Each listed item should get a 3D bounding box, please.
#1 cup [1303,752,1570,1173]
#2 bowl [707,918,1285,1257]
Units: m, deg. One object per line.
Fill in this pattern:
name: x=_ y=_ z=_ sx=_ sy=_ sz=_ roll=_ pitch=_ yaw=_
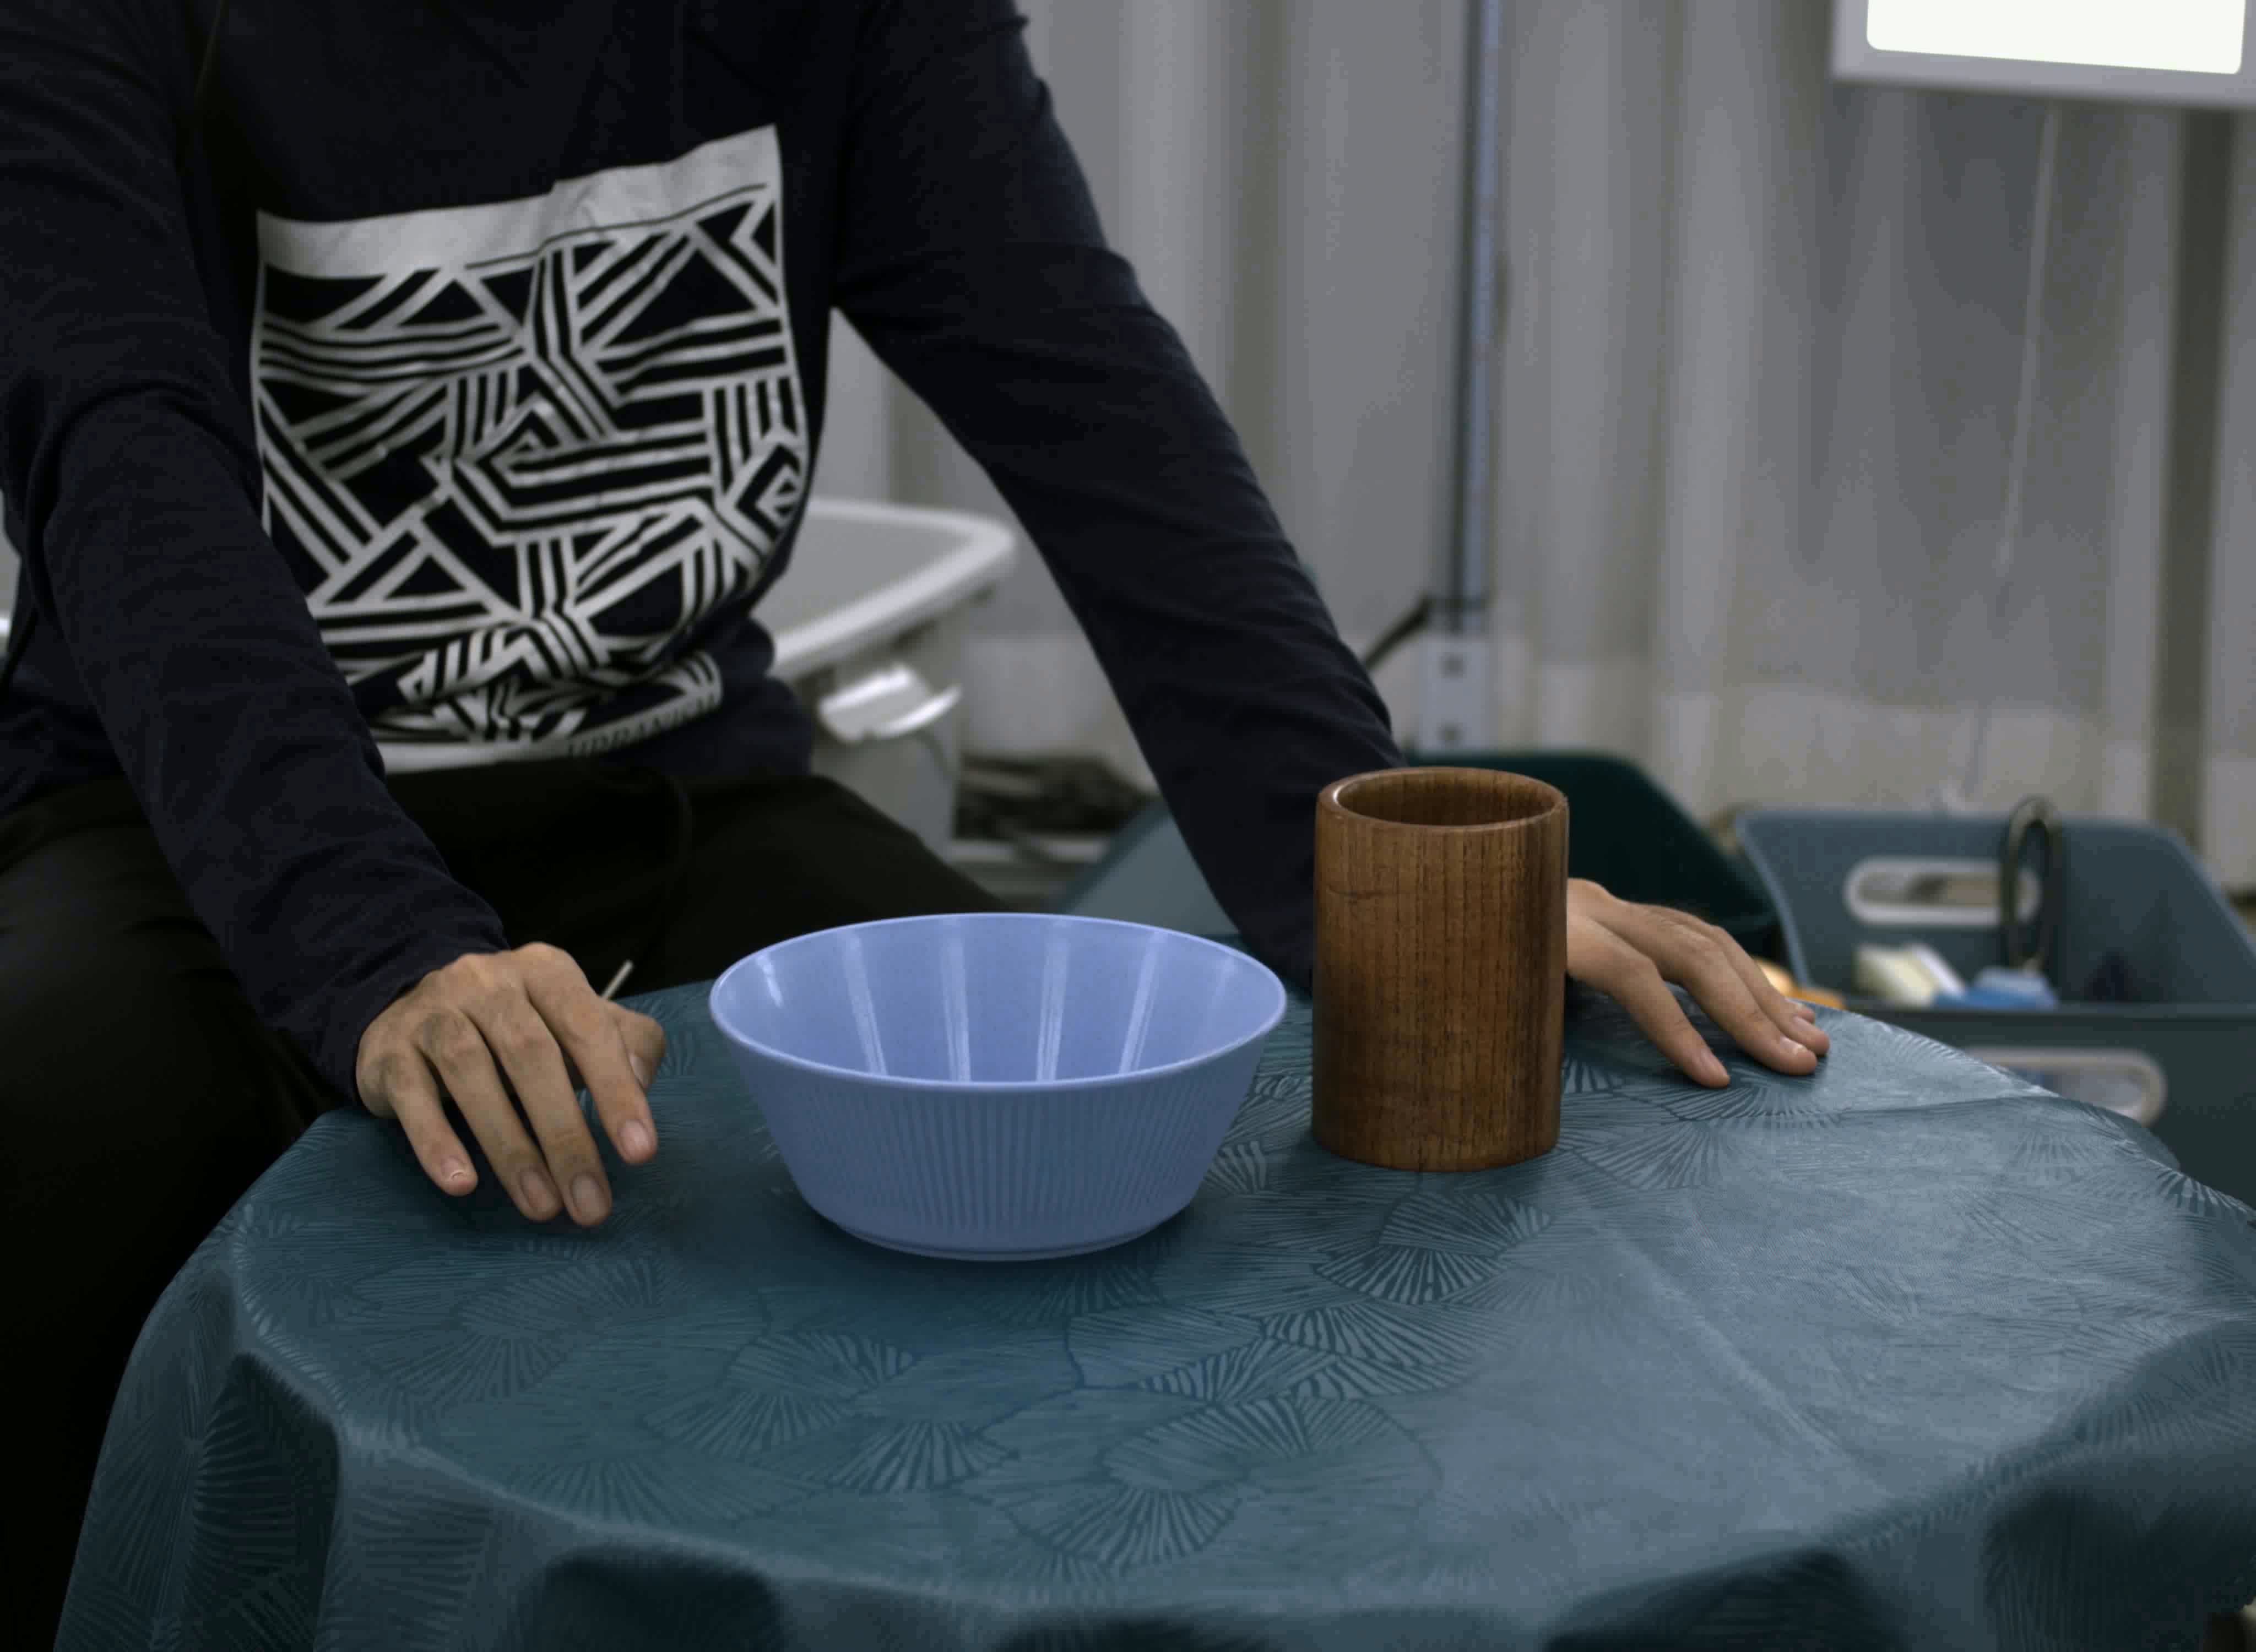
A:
cup: x=0.098 y=0.042 z=1.664 sx=0.087 sy=0.119 sz=0.087 roll=0 pitch=14 yaw=0
bowl: x=-0.040 y=0.082 z=1.604 sx=0.175 sy=0.071 sz=0.175 roll=1 pitch=15 yaw=0
